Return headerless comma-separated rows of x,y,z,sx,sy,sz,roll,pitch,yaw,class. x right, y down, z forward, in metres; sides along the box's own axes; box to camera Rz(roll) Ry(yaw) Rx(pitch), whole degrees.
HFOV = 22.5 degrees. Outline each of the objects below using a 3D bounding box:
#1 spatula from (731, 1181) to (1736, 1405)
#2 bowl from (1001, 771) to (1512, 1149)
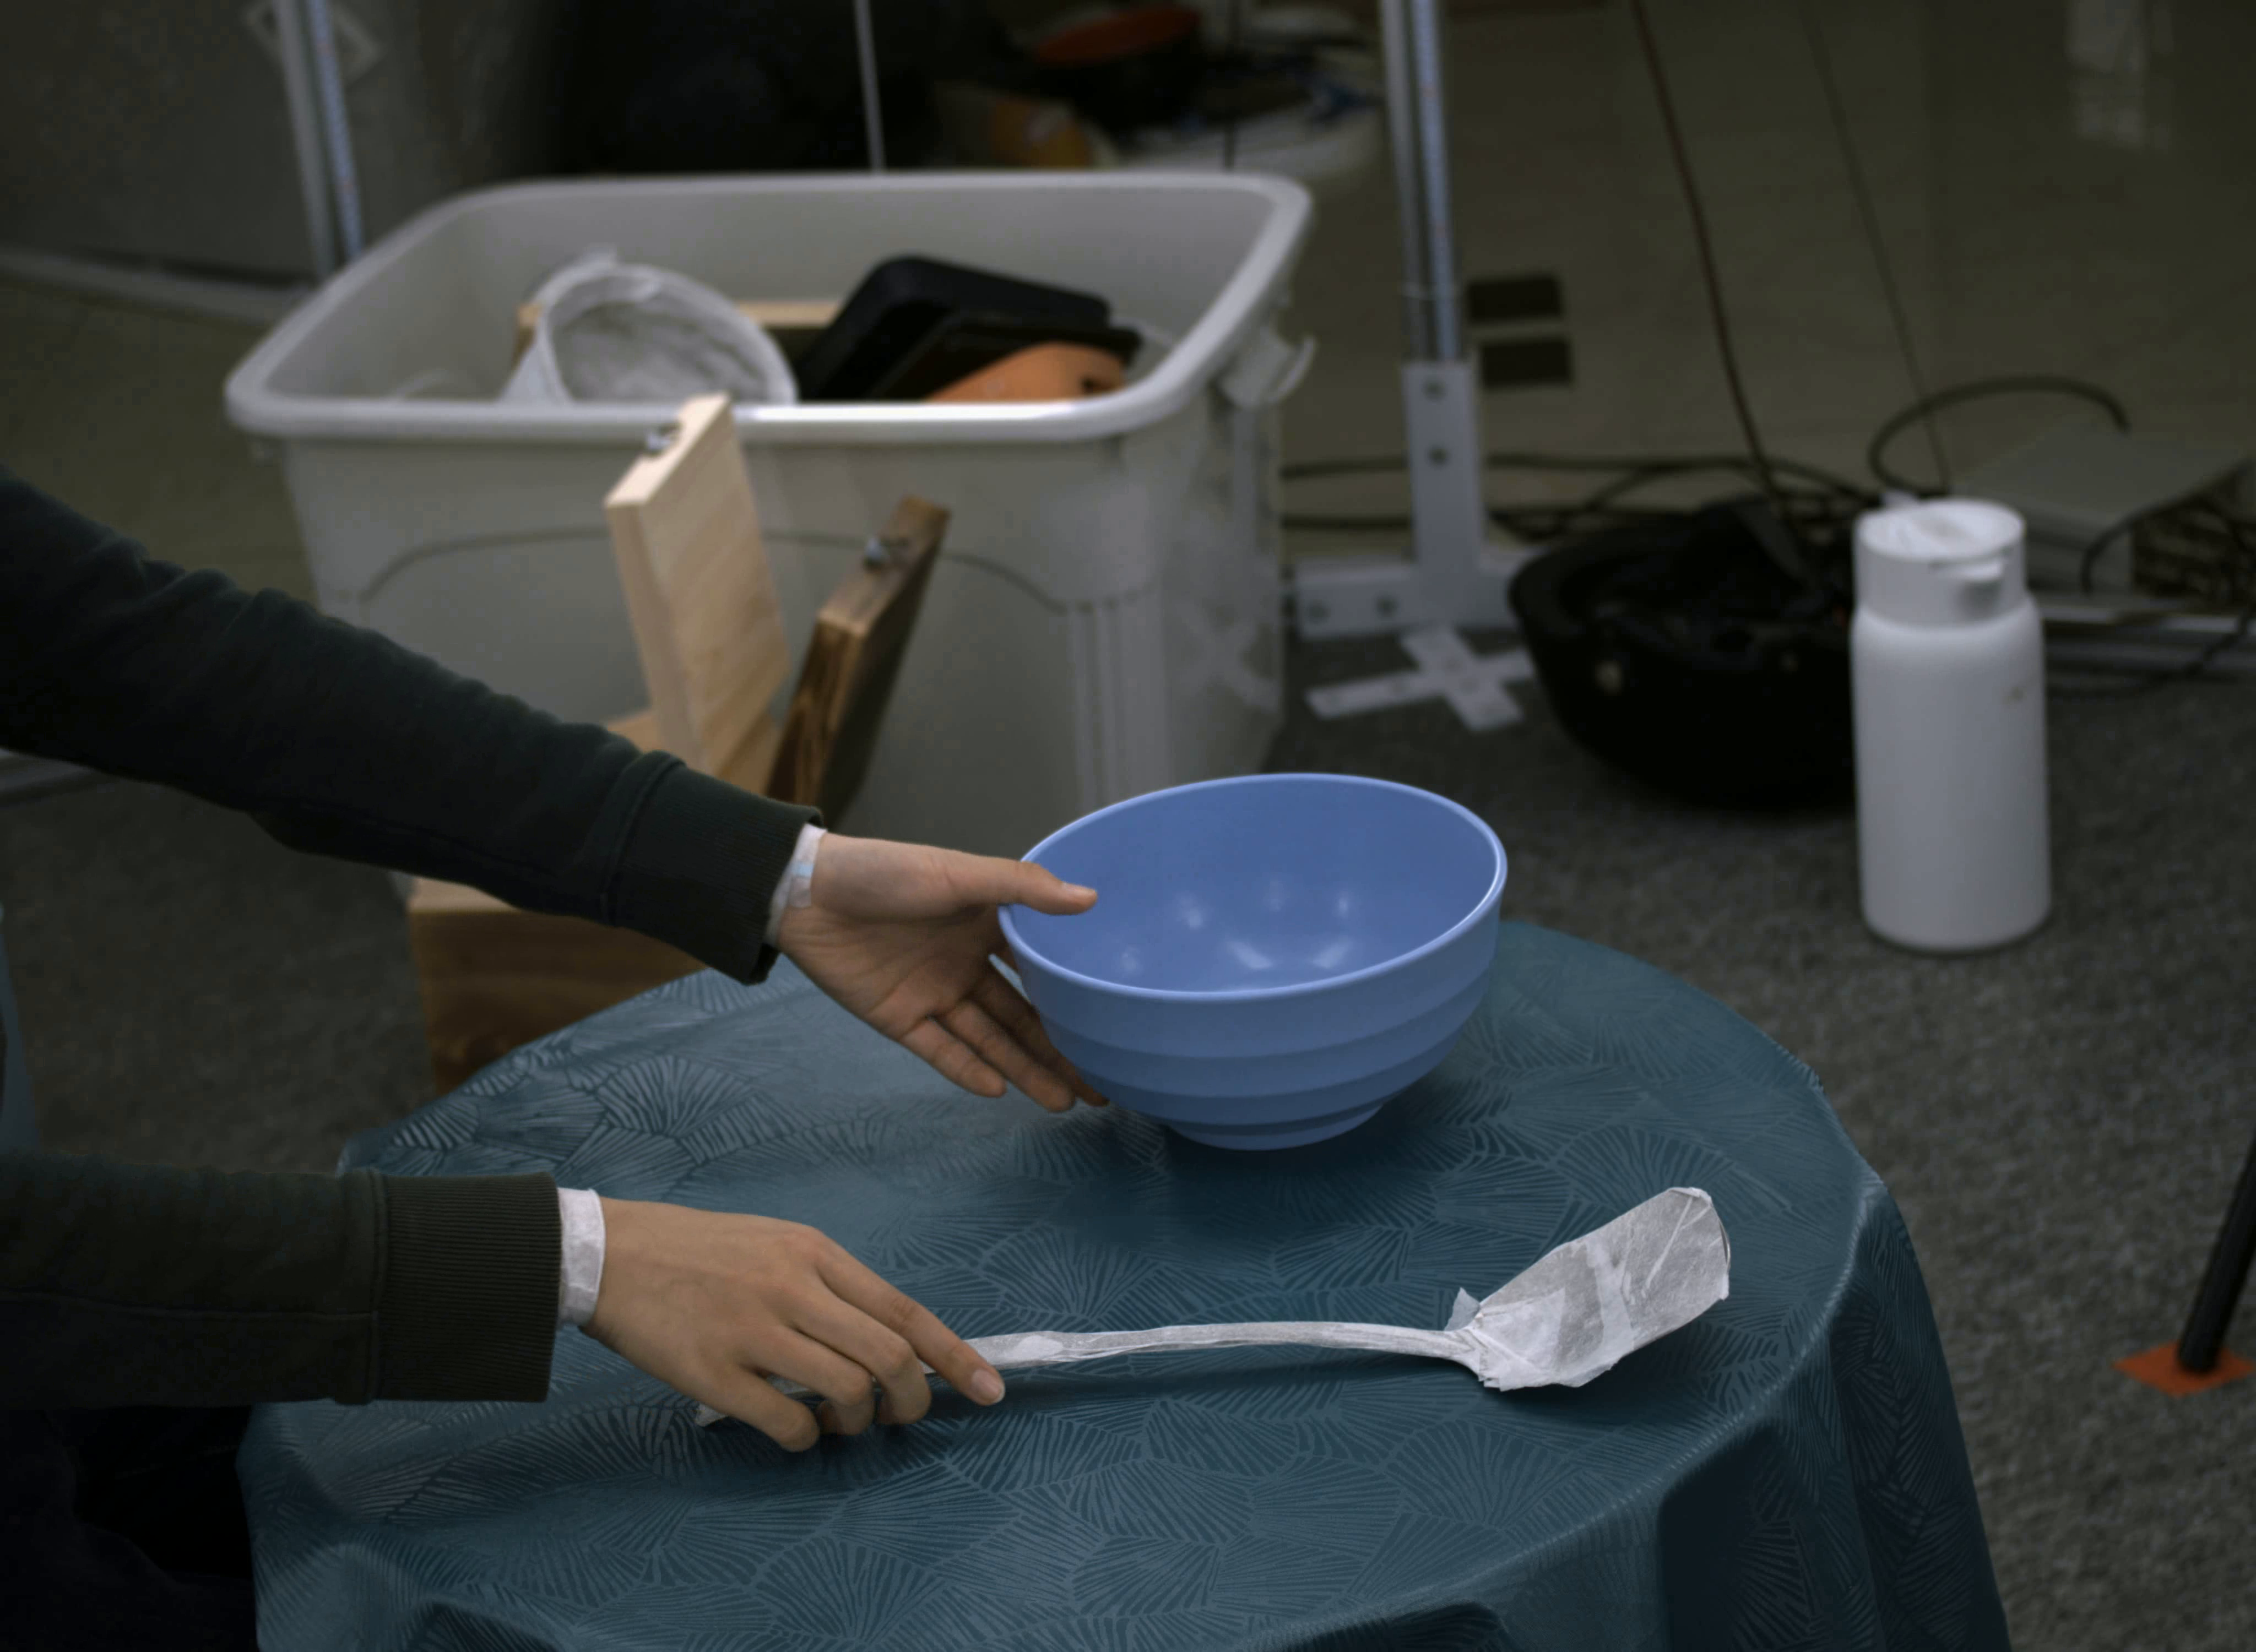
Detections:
0.034,0.176,2.018,0.364,0.045,0.097,-4,27,5,spatula
0.052,0.062,2.189,0.196,0.097,0.193,-3,26,2,bowl
